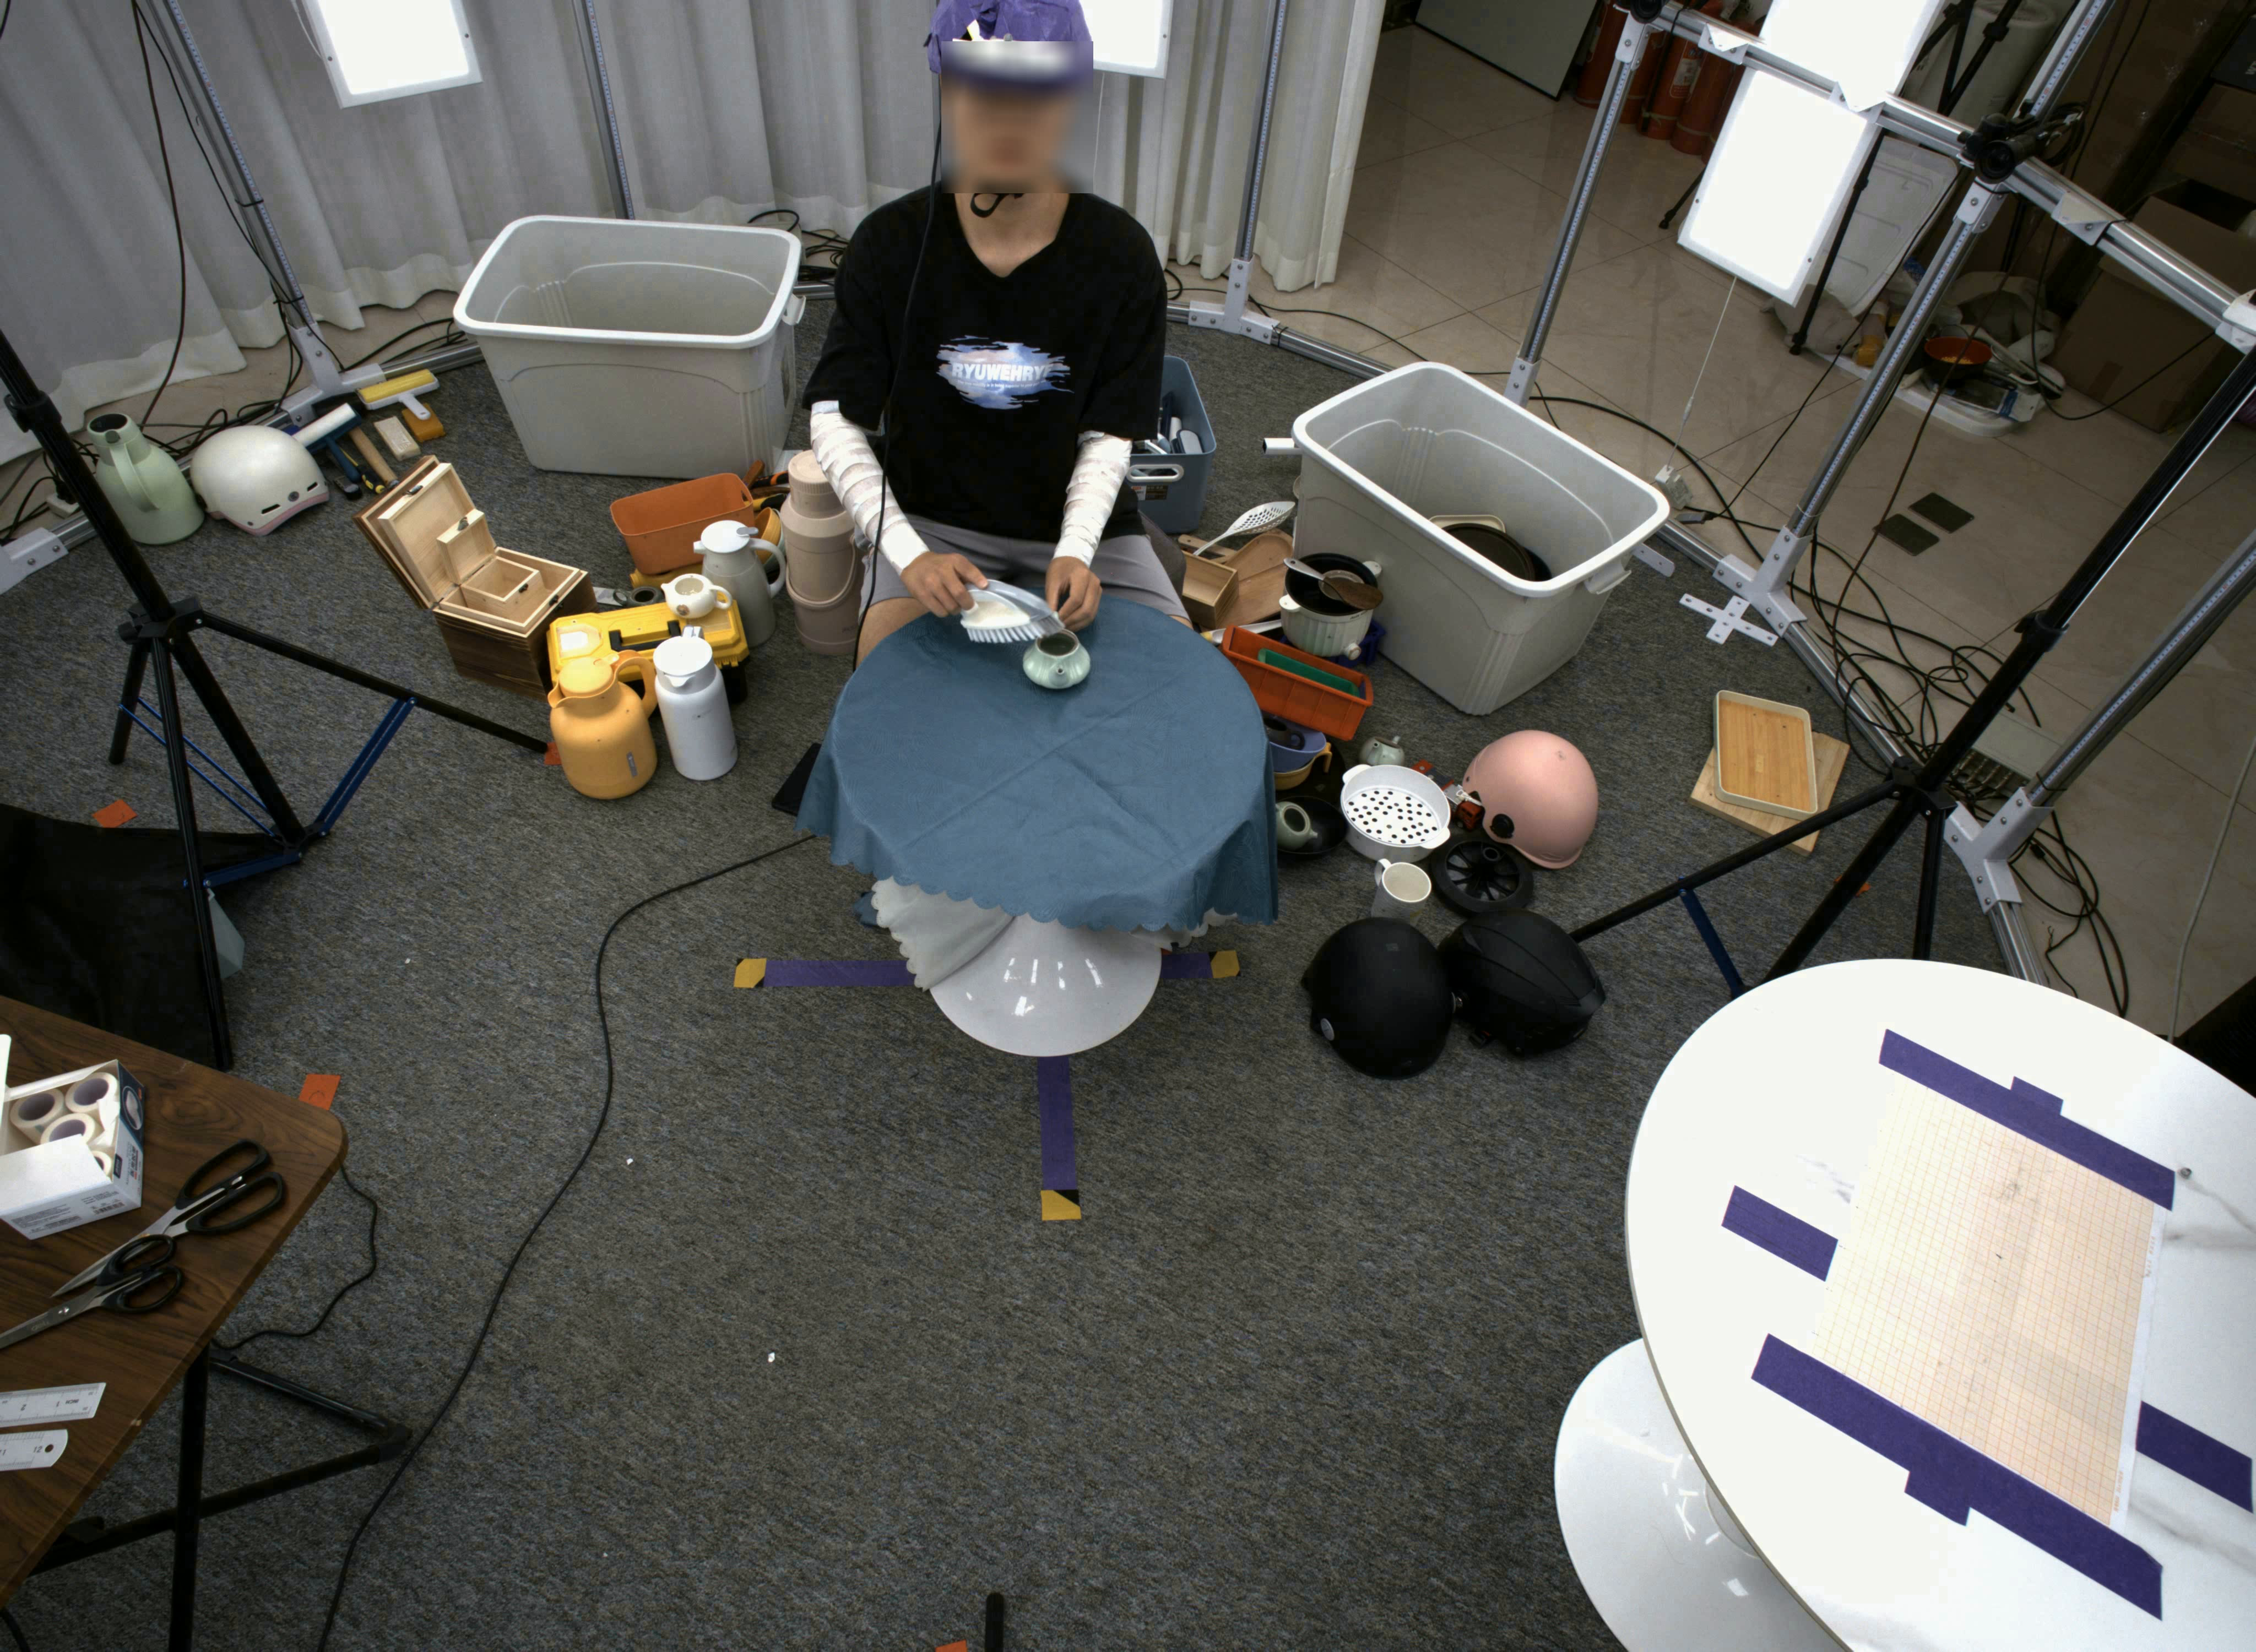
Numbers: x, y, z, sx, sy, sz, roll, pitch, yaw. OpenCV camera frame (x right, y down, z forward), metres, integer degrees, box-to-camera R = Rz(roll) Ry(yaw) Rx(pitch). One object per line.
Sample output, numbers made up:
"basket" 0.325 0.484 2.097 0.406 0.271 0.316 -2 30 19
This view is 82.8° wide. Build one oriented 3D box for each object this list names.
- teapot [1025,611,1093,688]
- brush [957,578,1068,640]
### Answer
"teapot" -0.100 -0.247 1.841 0.096 0.060 0.140 -5 50 -5
"brush" -0.170 -0.313 1.817 0.177 0.092 0.062 10 62 39
